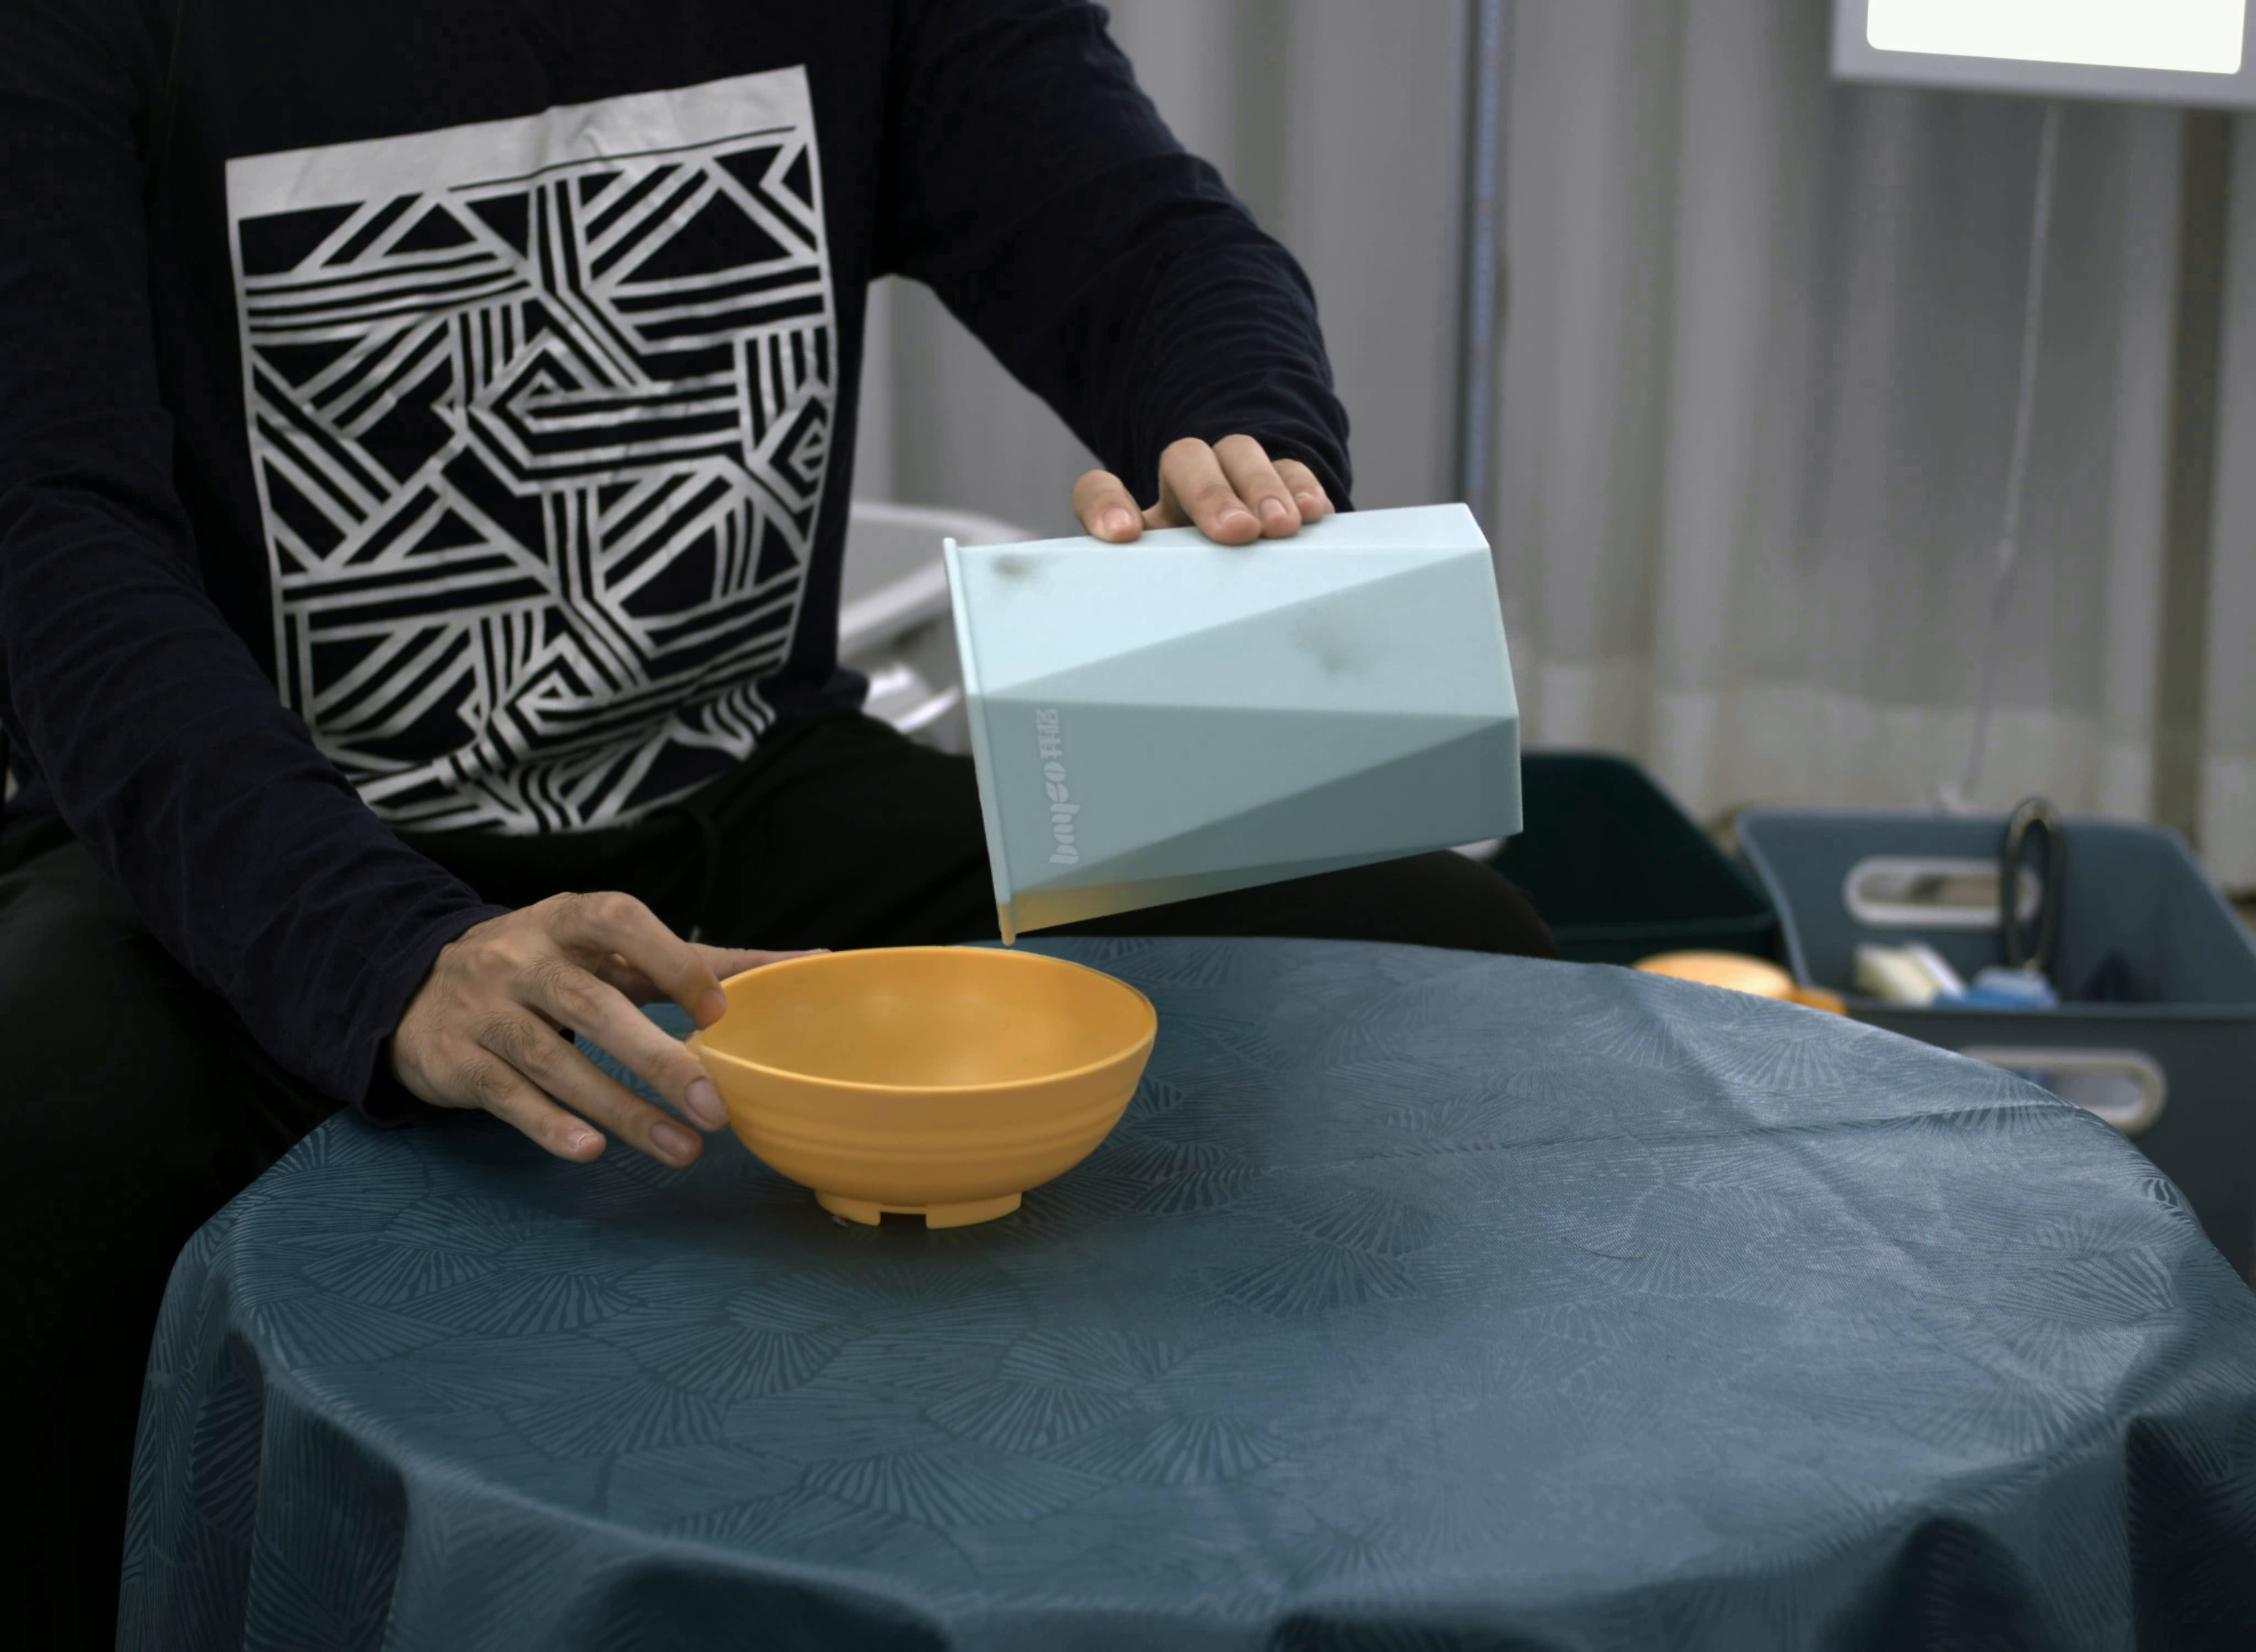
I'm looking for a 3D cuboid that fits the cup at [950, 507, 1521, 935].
[{"bbox_3d":[0.033,-0.038,1.598,0.162,0.132,0.114,-7,16,-1],"label":"cup"}]

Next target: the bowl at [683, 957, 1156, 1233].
[{"bbox_3d":[-0.064,0.087,1.613,0.145,0.060,0.144,0,13,0],"label":"bowl"}]
